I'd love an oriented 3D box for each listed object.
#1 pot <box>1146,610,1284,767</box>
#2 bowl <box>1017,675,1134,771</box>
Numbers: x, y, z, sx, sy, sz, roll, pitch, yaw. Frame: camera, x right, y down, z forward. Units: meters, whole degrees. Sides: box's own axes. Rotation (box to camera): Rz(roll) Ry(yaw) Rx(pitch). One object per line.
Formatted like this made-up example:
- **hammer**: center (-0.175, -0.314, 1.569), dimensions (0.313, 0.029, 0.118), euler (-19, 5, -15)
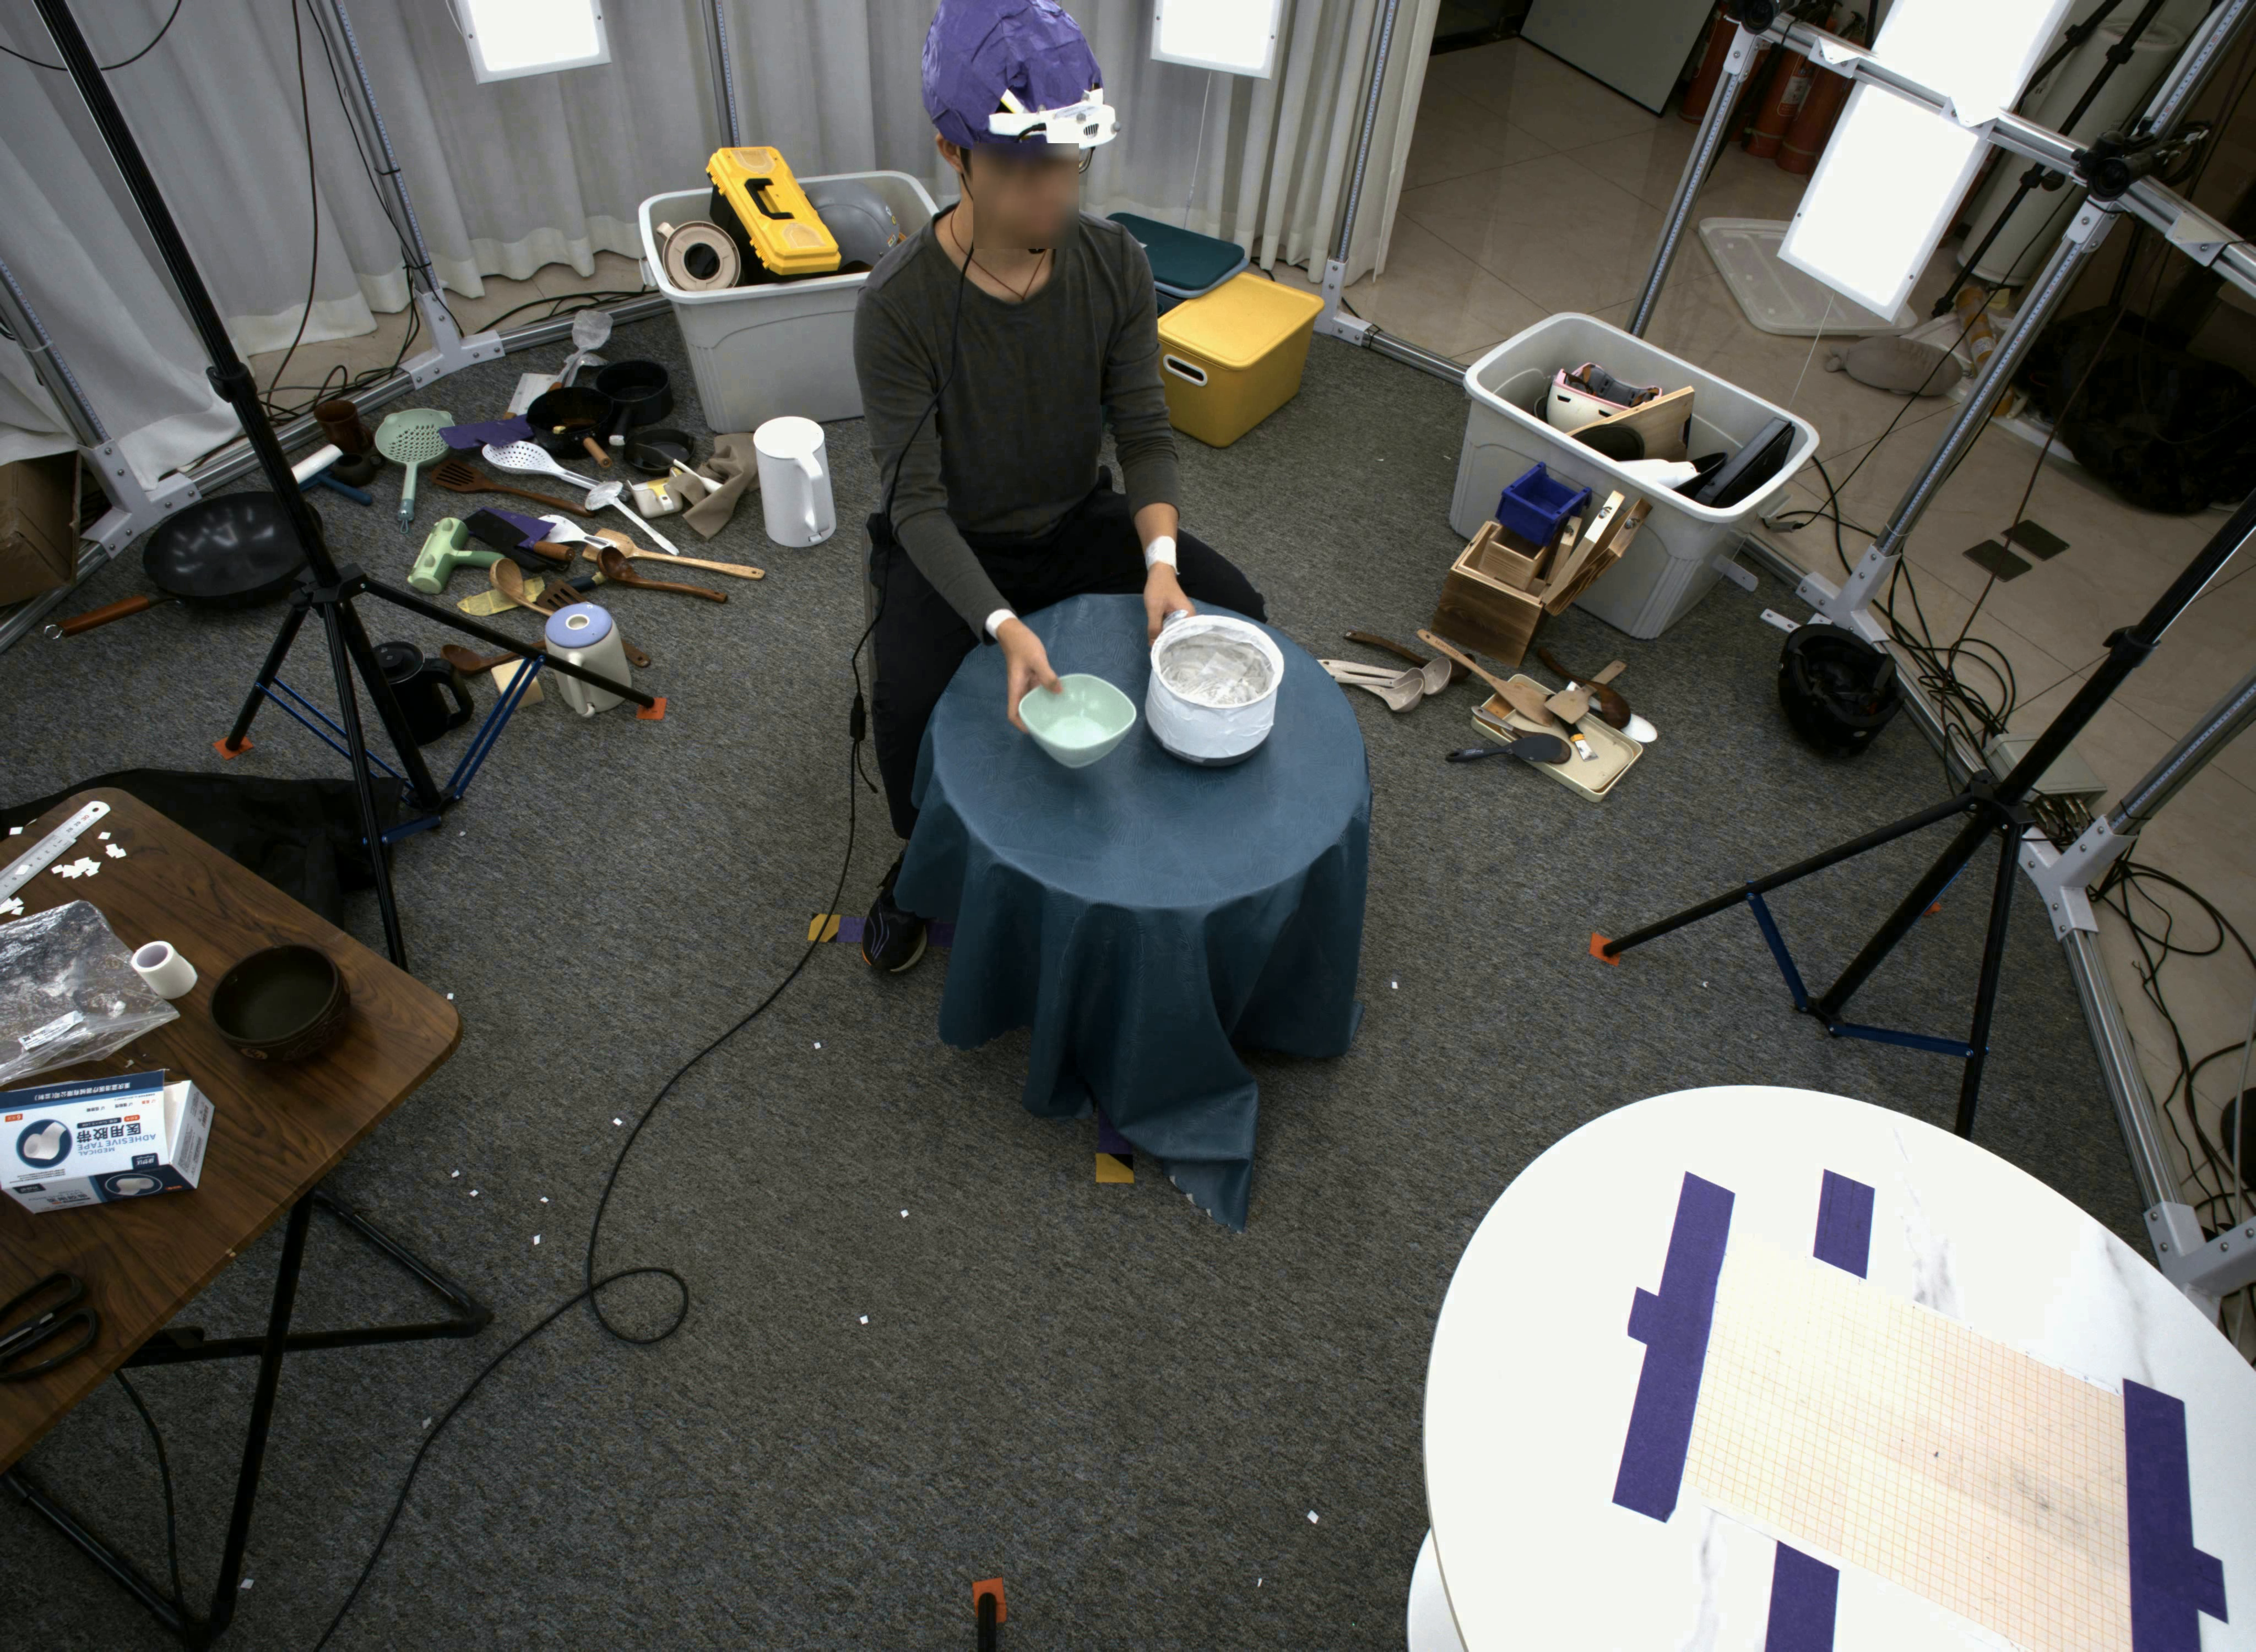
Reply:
- **pot**: center (0.101, -0.198, 1.759), dimensions (0.179, 0.133, 0.239), euler (-20, 53, -19)
- **bowl**: center (-0.068, -0.125, 1.660), dimensions (0.151, 0.057, 0.155), euler (1, 45, -1)
